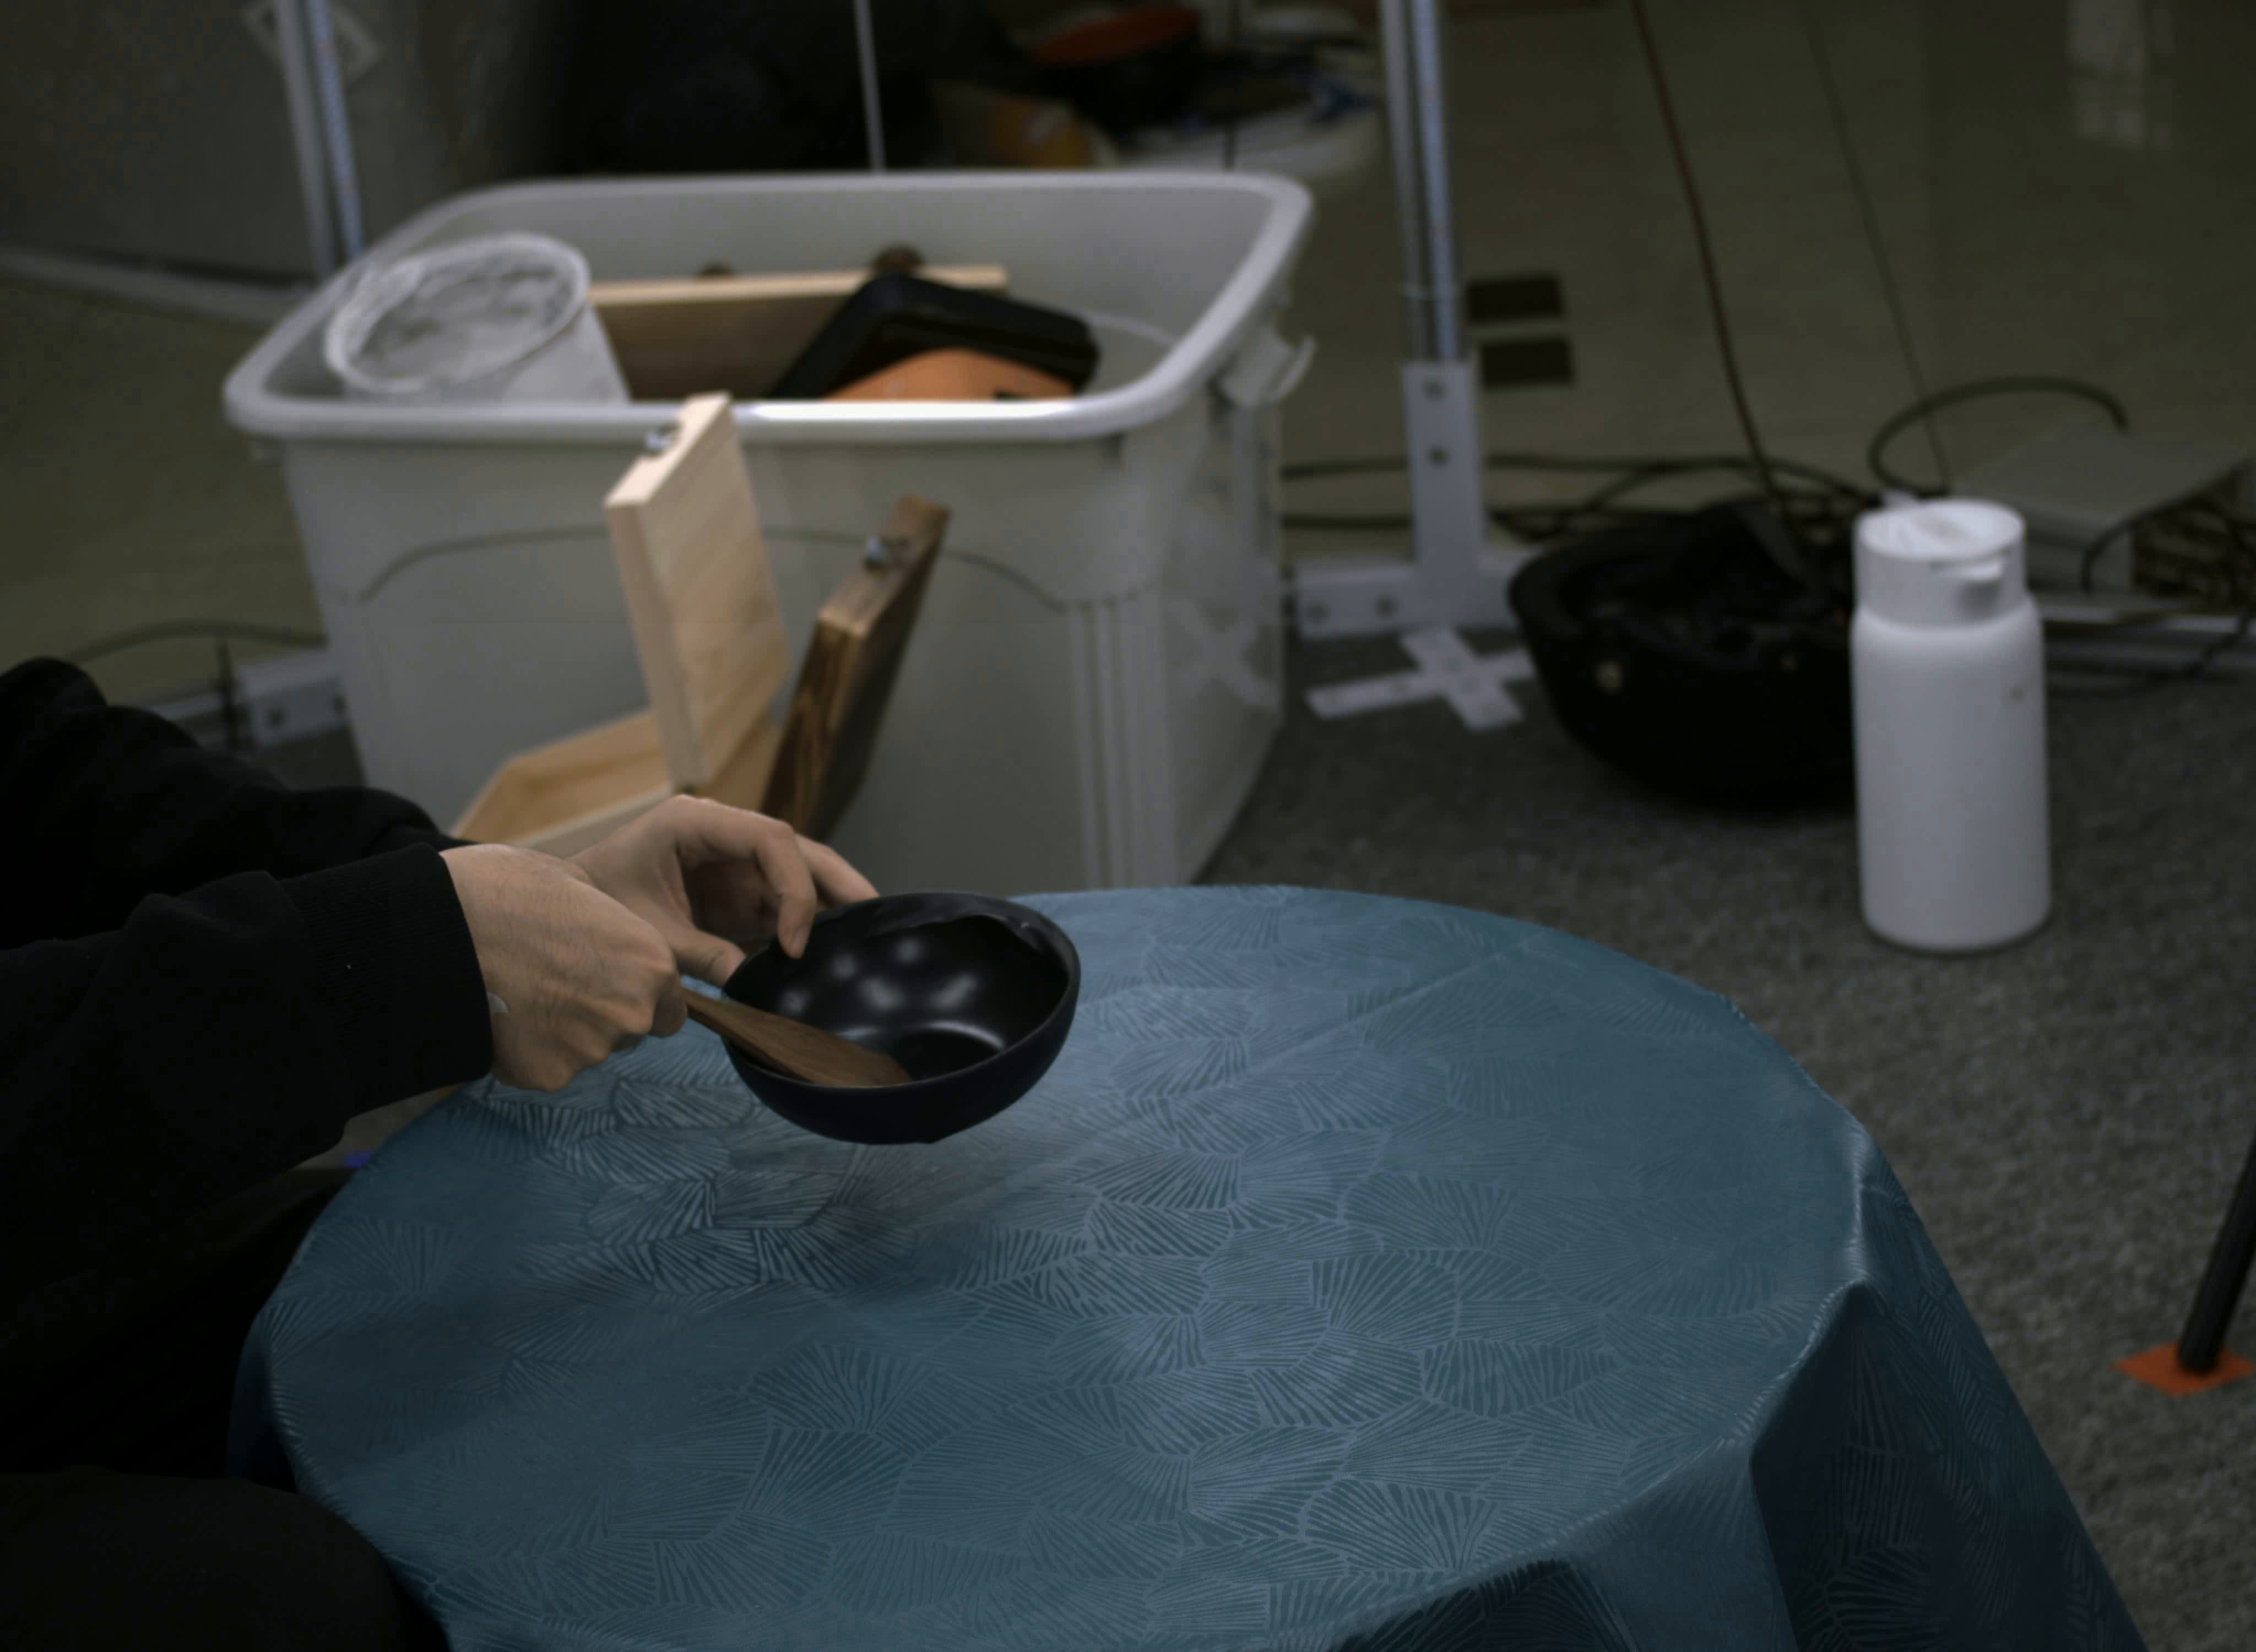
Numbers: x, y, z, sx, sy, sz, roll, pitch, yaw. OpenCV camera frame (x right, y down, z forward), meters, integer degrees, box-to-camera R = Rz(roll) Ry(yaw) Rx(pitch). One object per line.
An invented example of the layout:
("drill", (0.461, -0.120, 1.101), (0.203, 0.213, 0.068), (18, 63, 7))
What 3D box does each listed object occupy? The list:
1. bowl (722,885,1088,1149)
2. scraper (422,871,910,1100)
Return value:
("bowl", (-0.082, 0.081, 2.153), (0.140, 0.051, 0.137), (-6, 34, 4))
("scraper", (-0.170, 0.063, 2.108), (0.212, 0.011, 0.075), (26, 11, -24))
